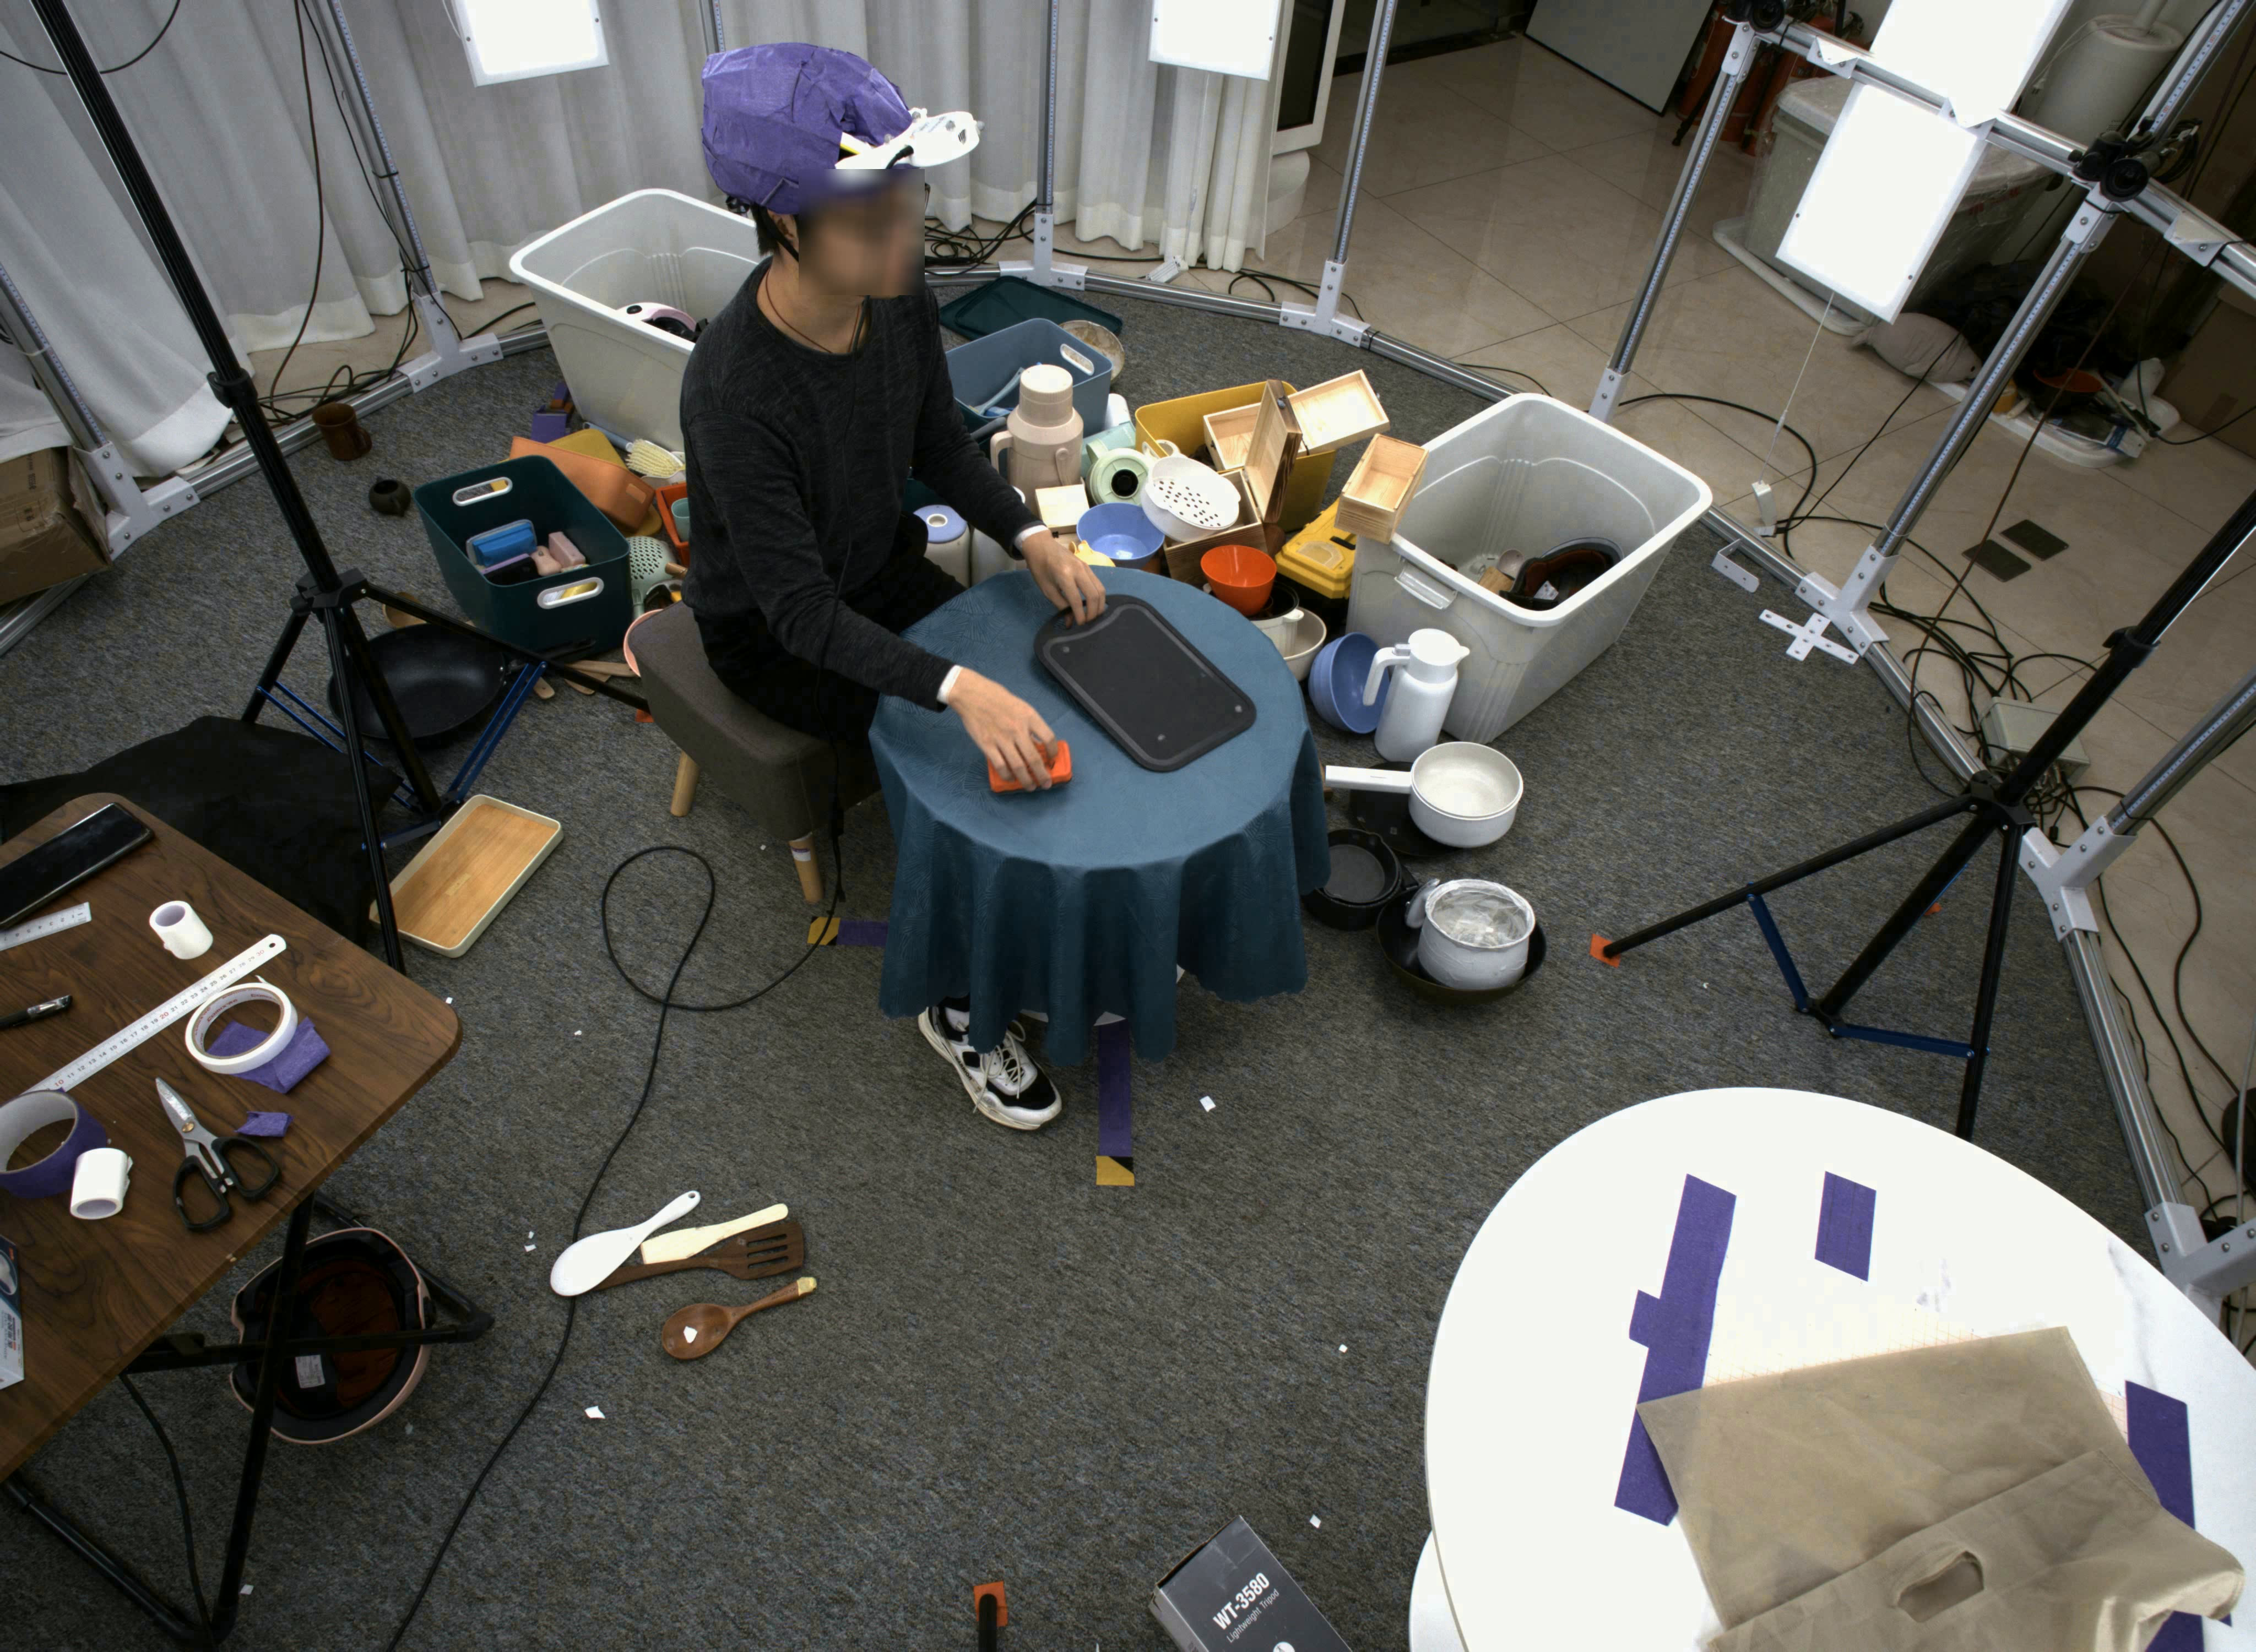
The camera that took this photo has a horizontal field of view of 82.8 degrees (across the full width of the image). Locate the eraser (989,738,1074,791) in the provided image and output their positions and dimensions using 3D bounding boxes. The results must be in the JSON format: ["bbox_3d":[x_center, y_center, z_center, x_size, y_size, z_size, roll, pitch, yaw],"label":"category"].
[{"bbox_3d":[-0.128,-0.082,1.697,0.108,0.022,0.060,-9,57,0],"label":"eraser"}]

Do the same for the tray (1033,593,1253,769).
[{"bbox_3d":[0.014,-0.220,1.841,0.212,0.009,0.331,-29,61,-27],"label":"tray"}]
